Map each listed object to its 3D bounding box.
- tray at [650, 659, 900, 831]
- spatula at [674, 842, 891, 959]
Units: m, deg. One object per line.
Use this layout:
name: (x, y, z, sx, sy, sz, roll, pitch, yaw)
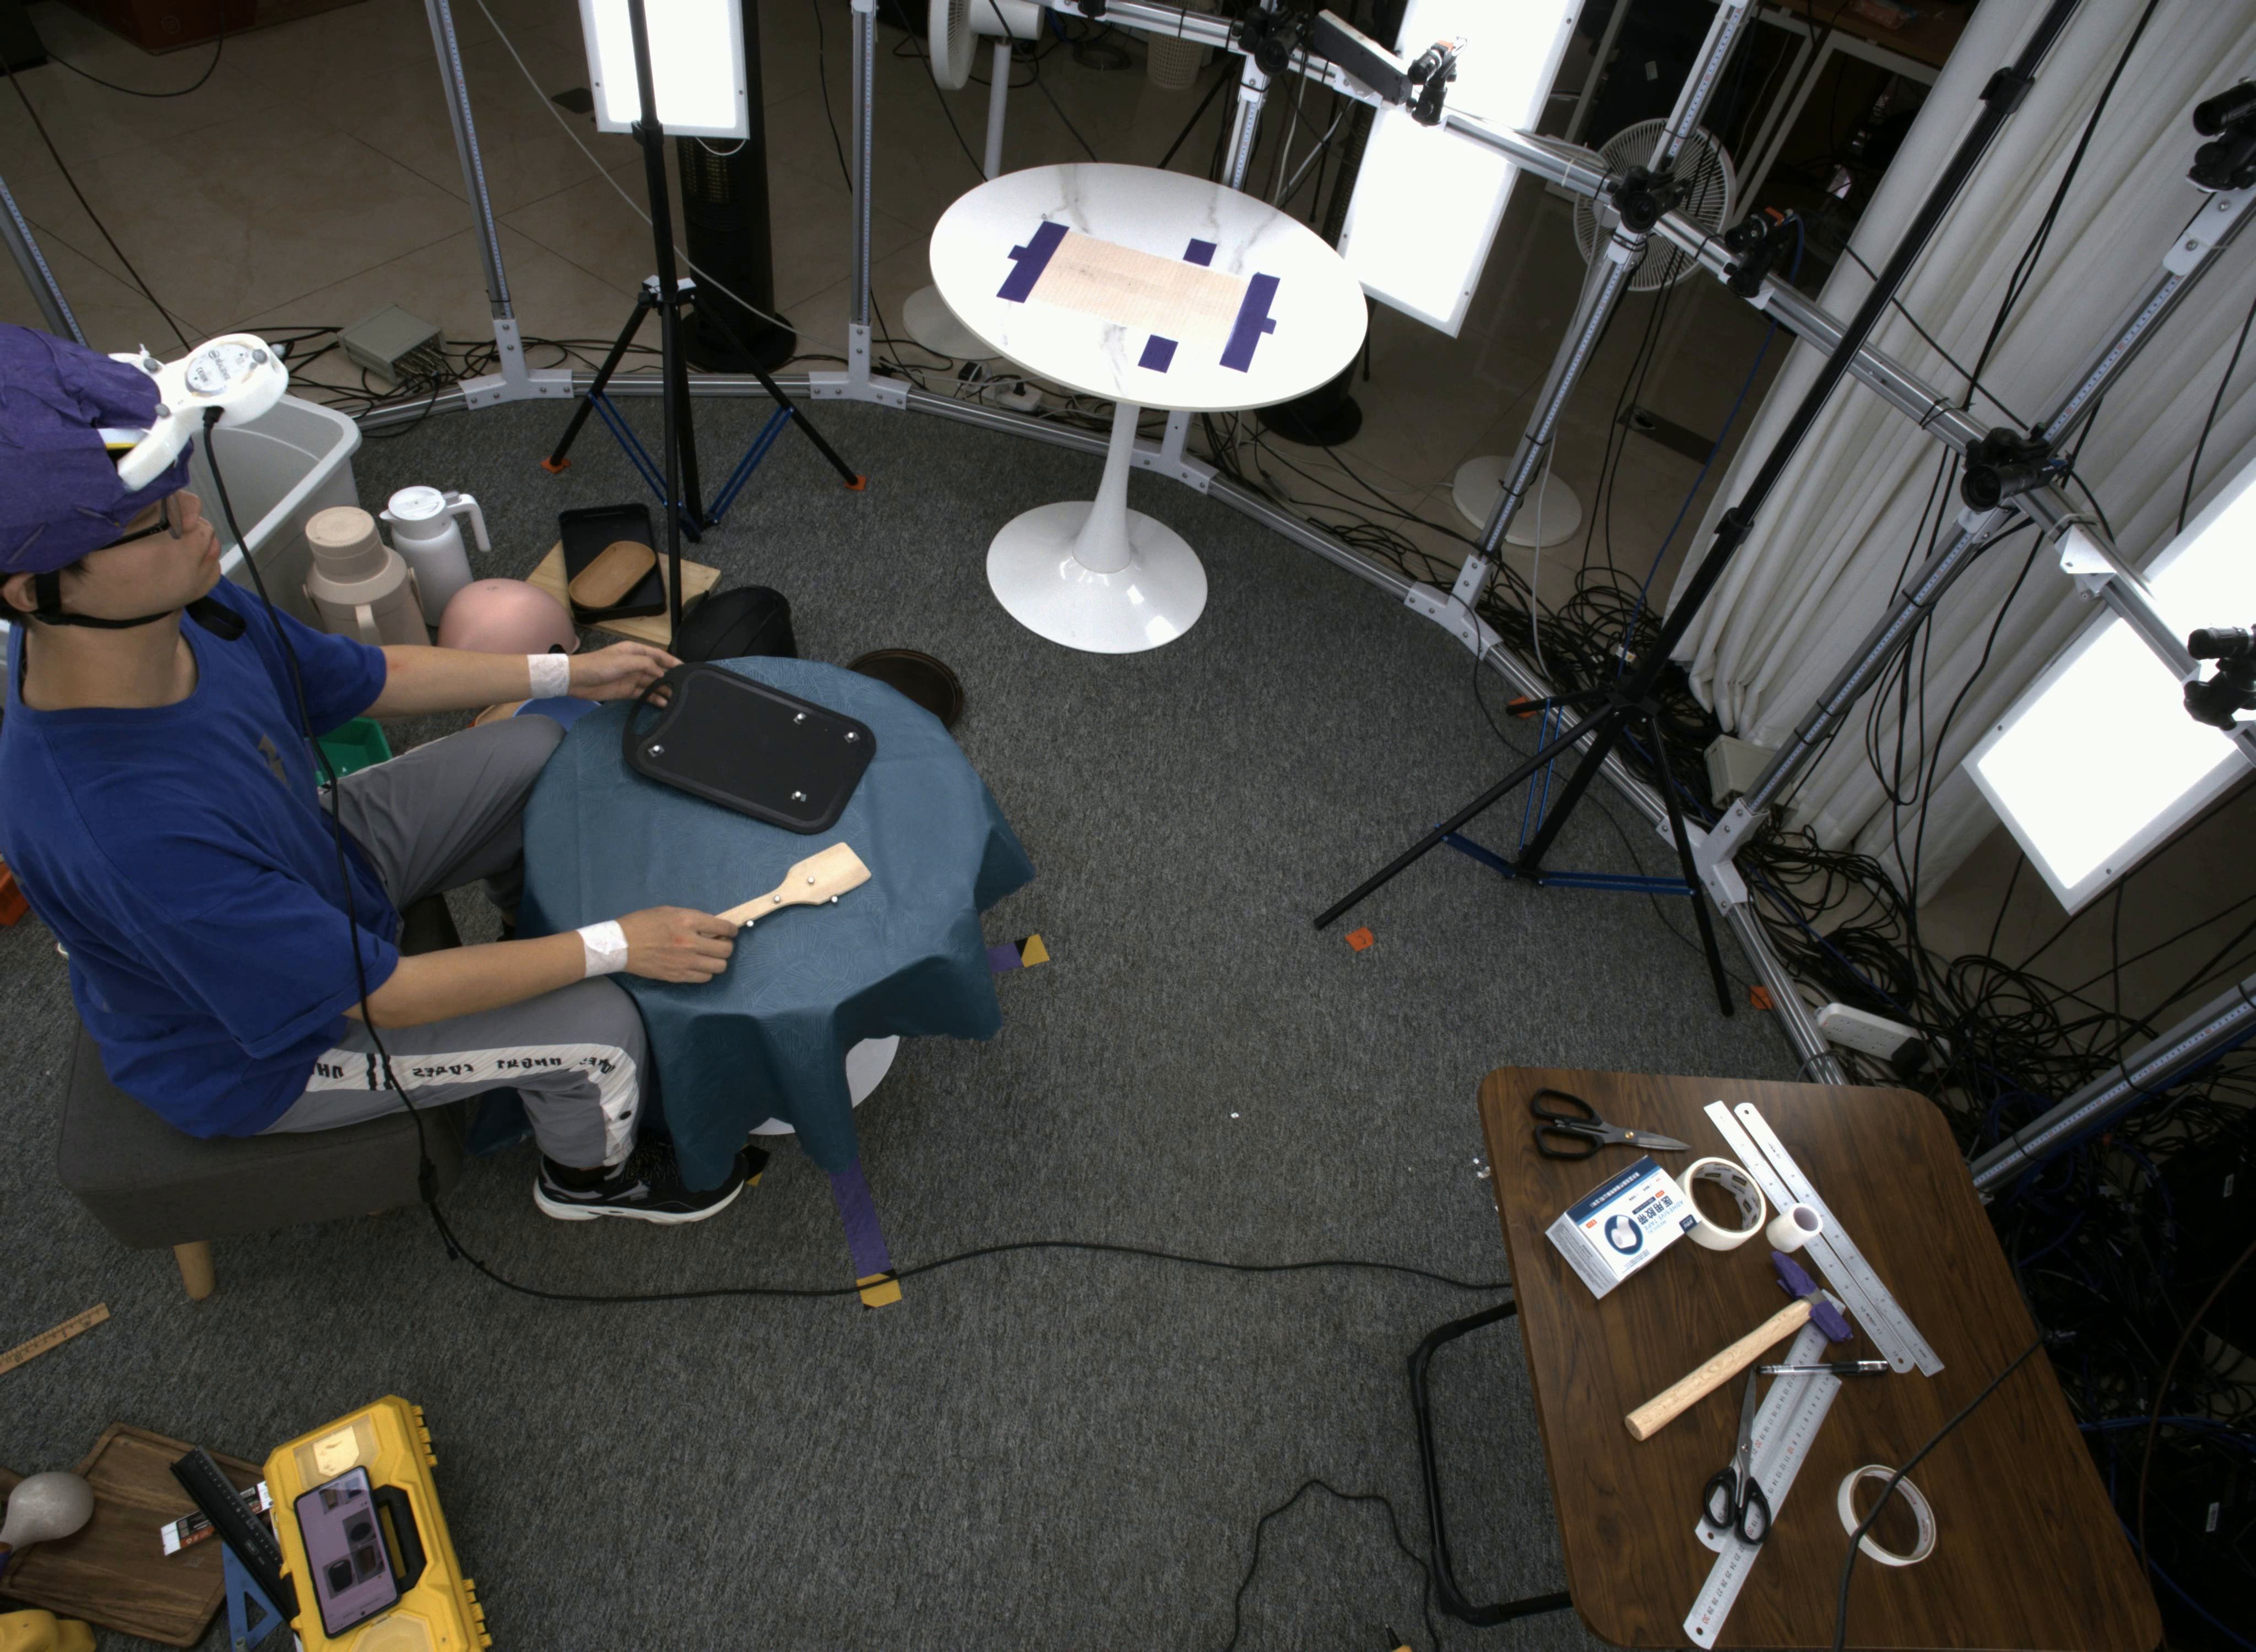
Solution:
tray: (-0.492, -0.119, 1.783, 0.324, 0.010, 0.209, 23, 54, -2)
spatula: (-0.438, 0.097, 1.641, 0.295, 0.011, 0.070, -27, 64, -35)
